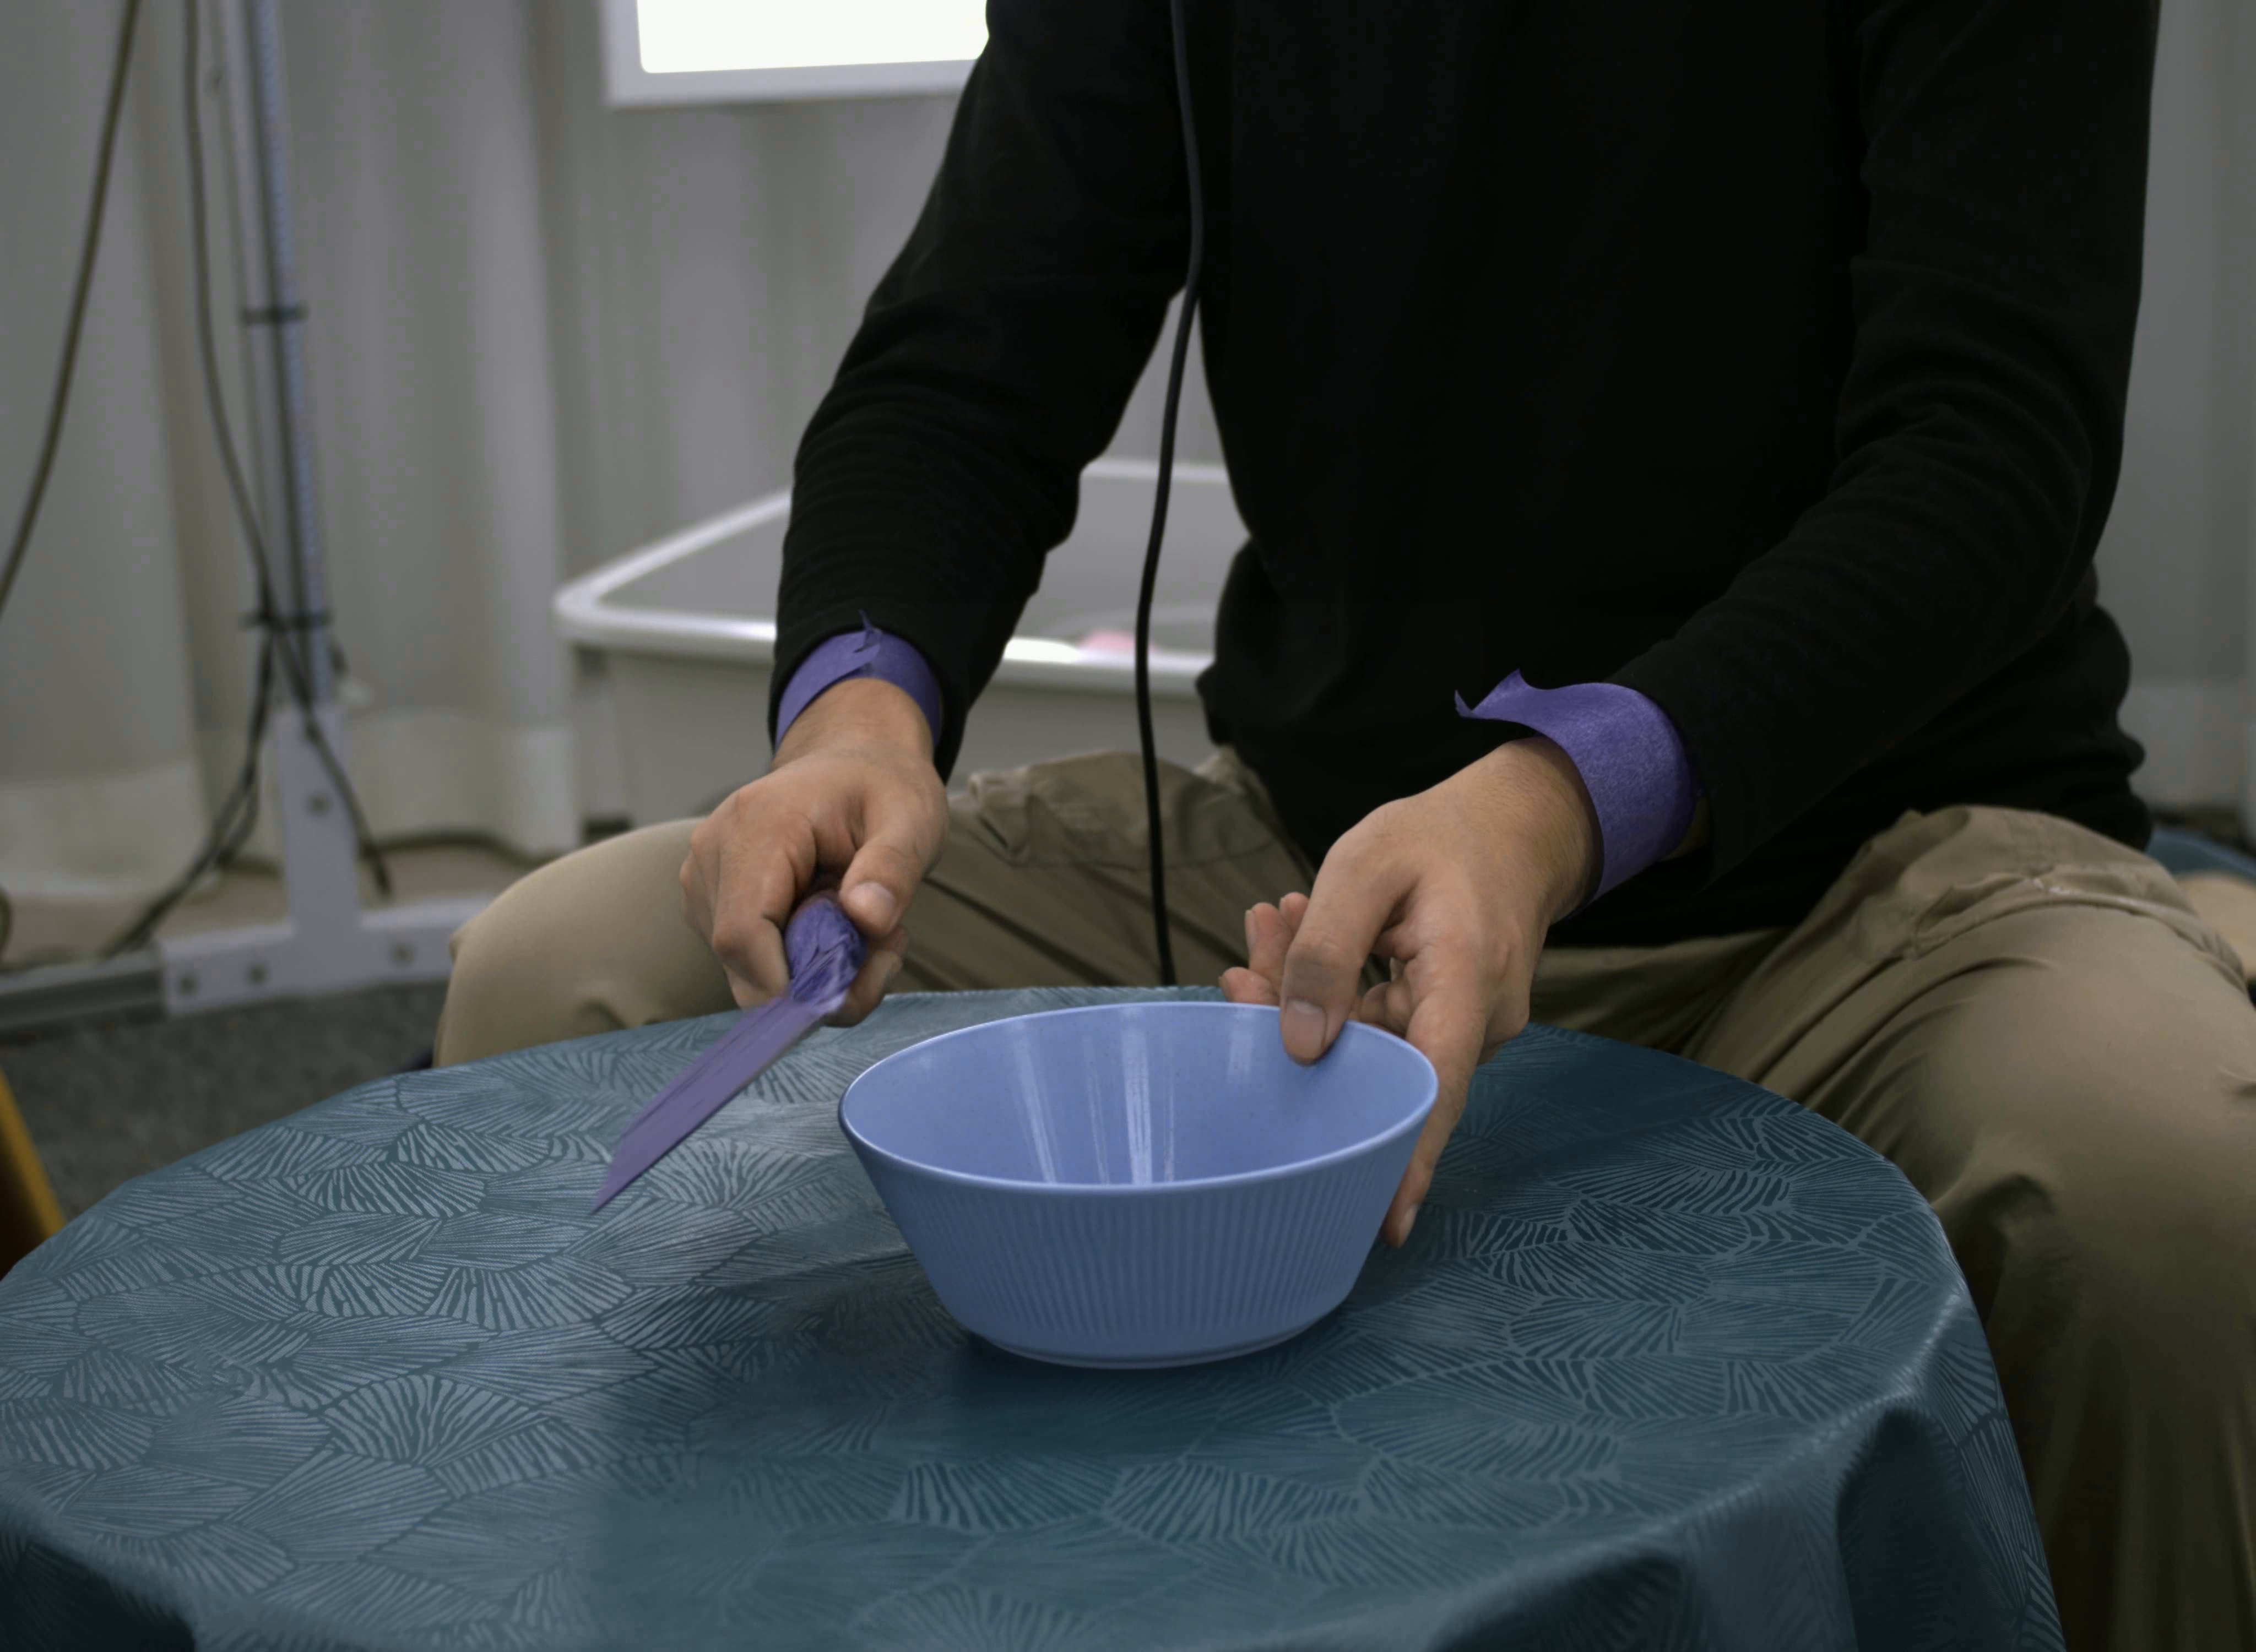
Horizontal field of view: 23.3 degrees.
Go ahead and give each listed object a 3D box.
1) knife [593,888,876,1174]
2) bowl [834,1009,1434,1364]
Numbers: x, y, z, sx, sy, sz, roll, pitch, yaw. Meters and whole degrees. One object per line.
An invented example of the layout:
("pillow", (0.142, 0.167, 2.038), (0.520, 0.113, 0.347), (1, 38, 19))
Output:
("knife", (-0.117, 0.060, 1.656), (0.104, 0.032, 0.315), (-41, 2, 0))
("bowl", (0.002, 0.108, 1.602), (0.175, 0.070, 0.177), (-2, 14, 0))
